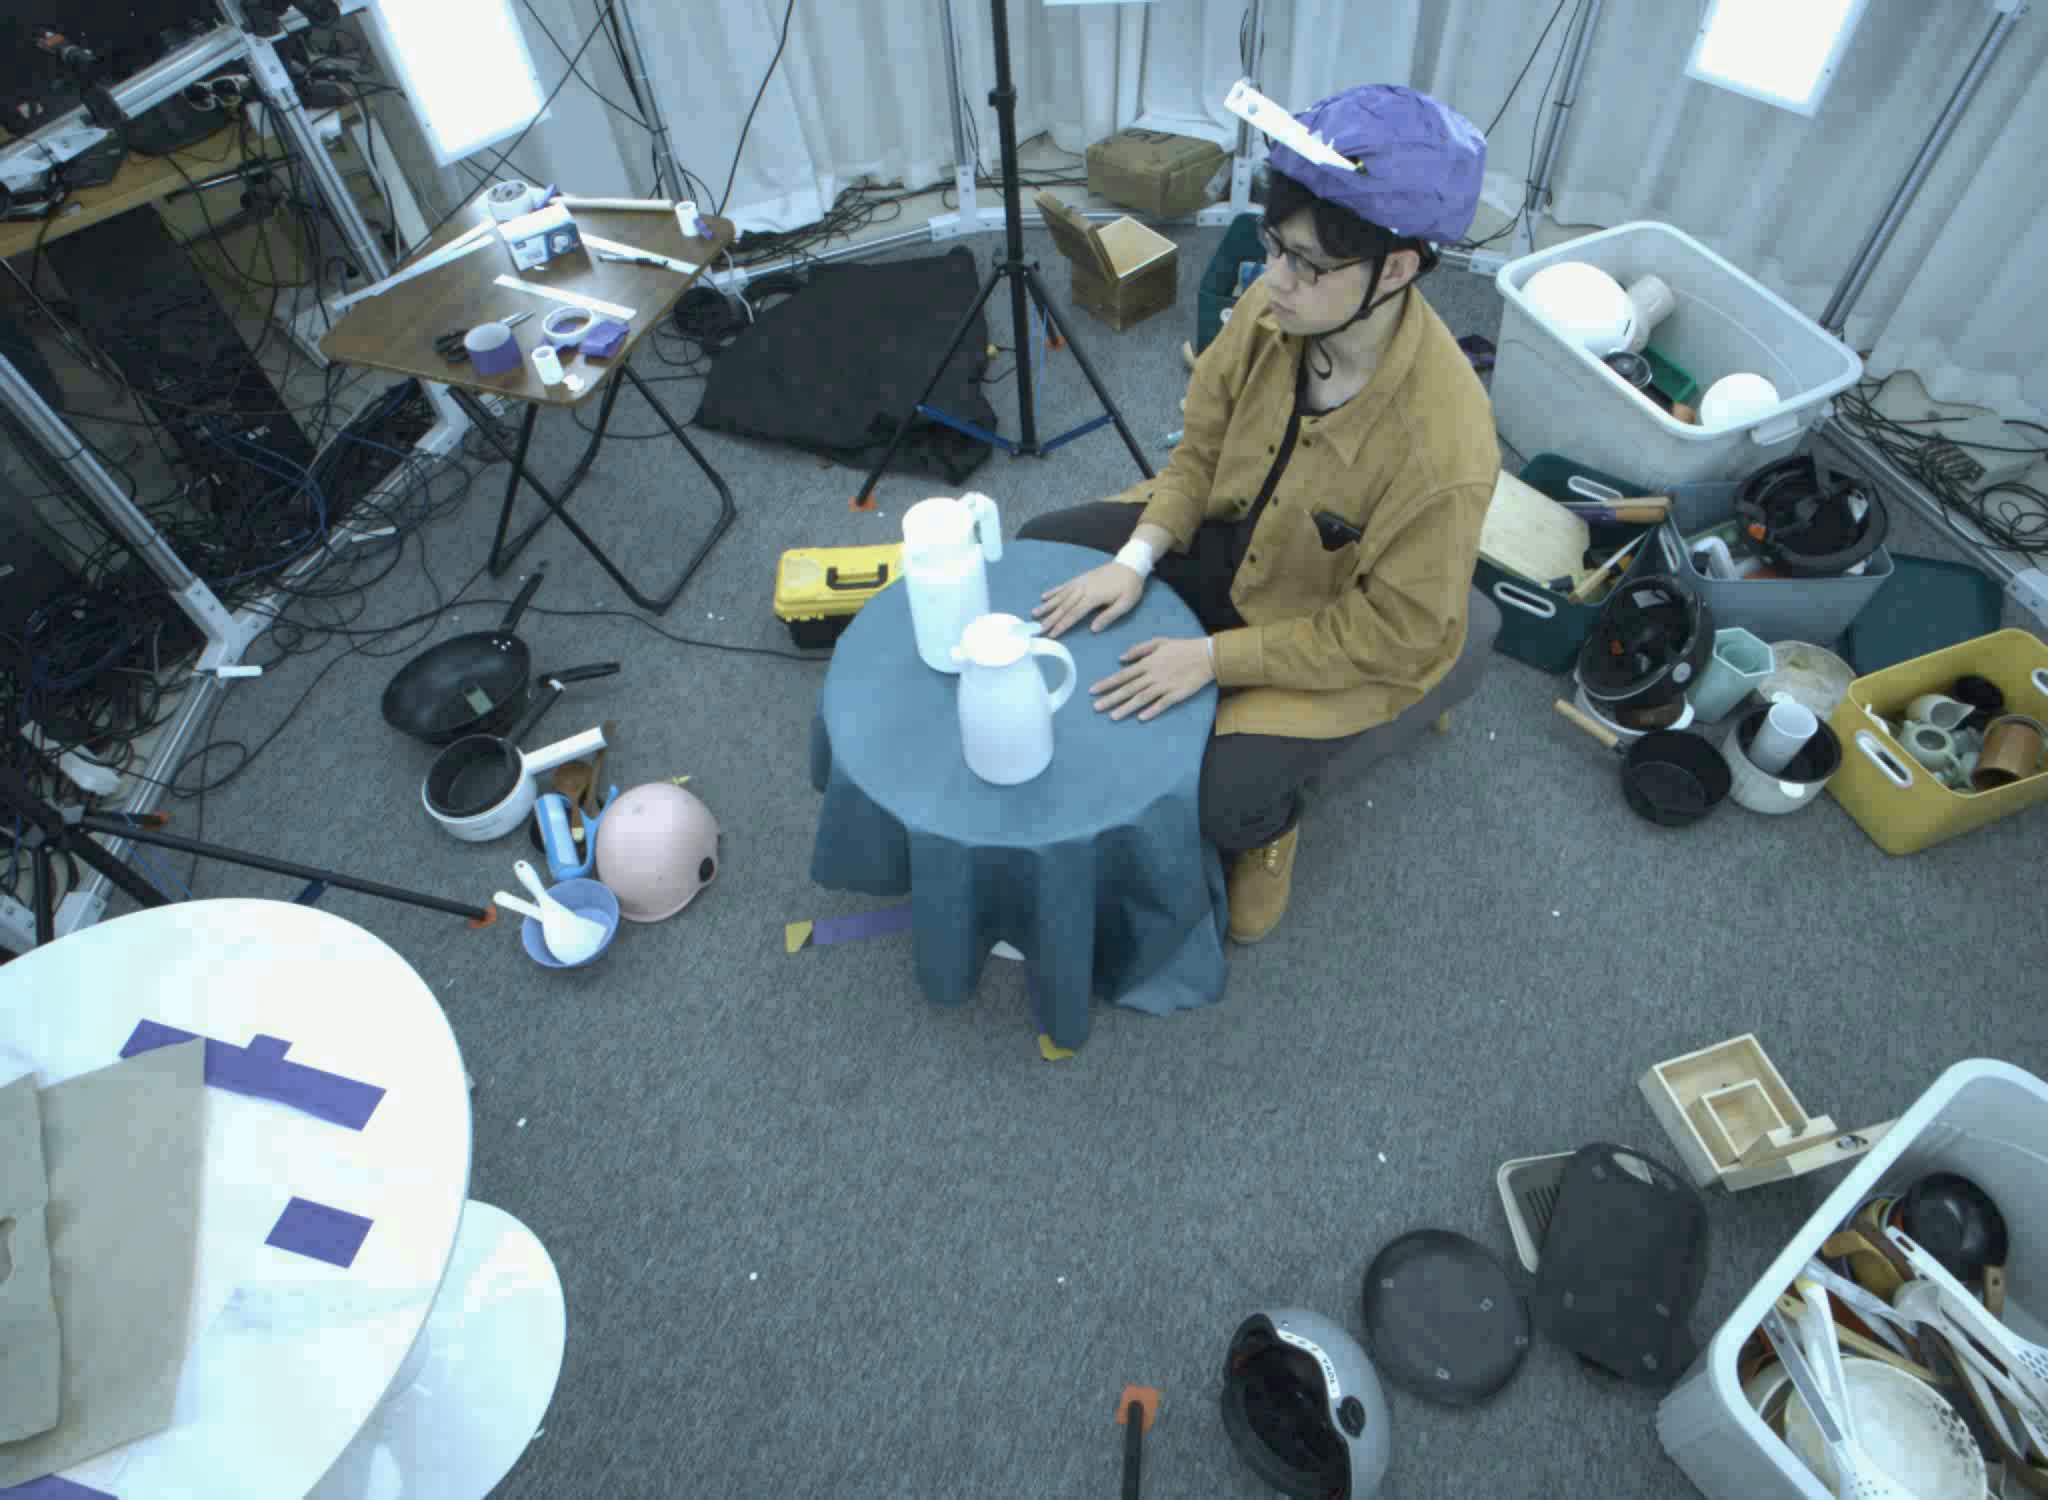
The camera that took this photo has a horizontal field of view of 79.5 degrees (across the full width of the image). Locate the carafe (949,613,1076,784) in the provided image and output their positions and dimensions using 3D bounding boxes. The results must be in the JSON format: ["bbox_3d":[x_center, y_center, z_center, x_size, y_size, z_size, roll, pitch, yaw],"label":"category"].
[{"bbox_3d":[-0.012,-0.080,1.687,0.168,0.251,0.130,-11,54,-5],"label":"carafe"}]

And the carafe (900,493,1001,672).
[{"bbox_3d":[-0.104,-0.251,1.800,0.121,0.272,0.174,34,63,26],"label":"carafe"}]
